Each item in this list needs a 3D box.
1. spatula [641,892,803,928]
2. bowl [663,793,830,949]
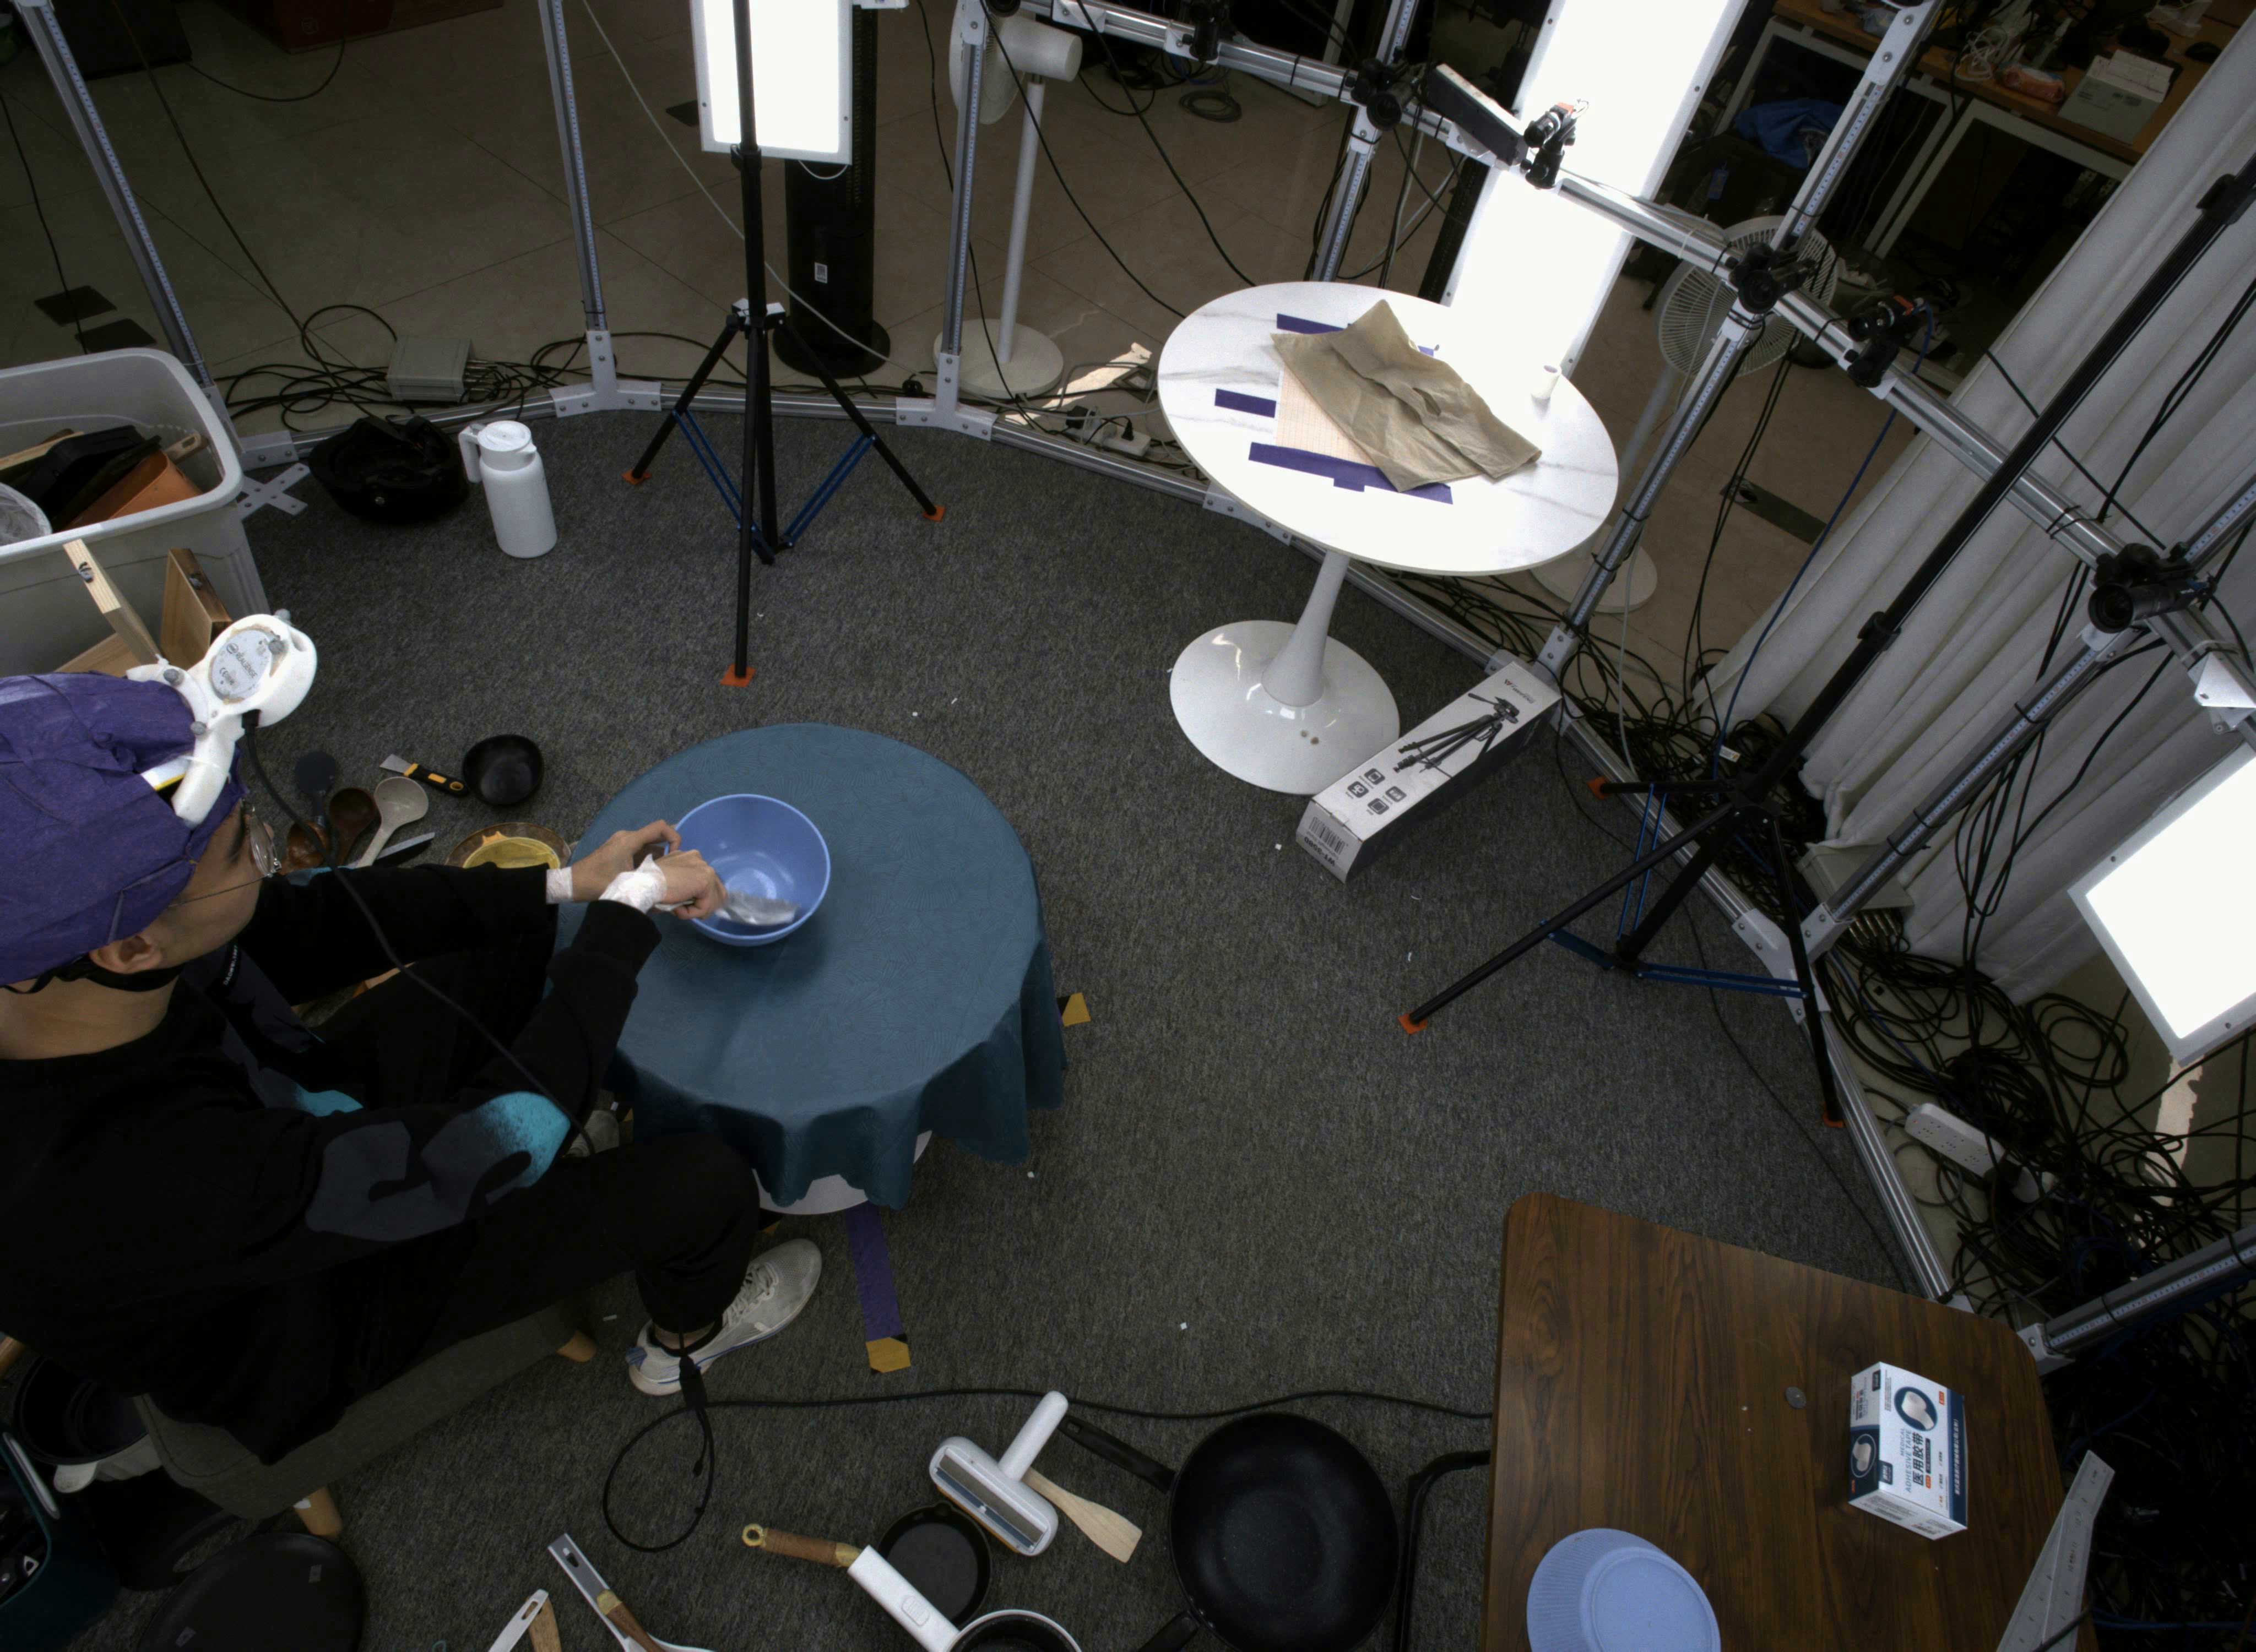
[{"bbox_3d":[-0.457,0.082,1.437,0.097,0.367,0.045,11,81,3],"label":"spatula"},{"bbox_3d":[-0.471,0.068,1.595,0.198,0.096,0.194,10,61,-17],"label":"bowl"}]
